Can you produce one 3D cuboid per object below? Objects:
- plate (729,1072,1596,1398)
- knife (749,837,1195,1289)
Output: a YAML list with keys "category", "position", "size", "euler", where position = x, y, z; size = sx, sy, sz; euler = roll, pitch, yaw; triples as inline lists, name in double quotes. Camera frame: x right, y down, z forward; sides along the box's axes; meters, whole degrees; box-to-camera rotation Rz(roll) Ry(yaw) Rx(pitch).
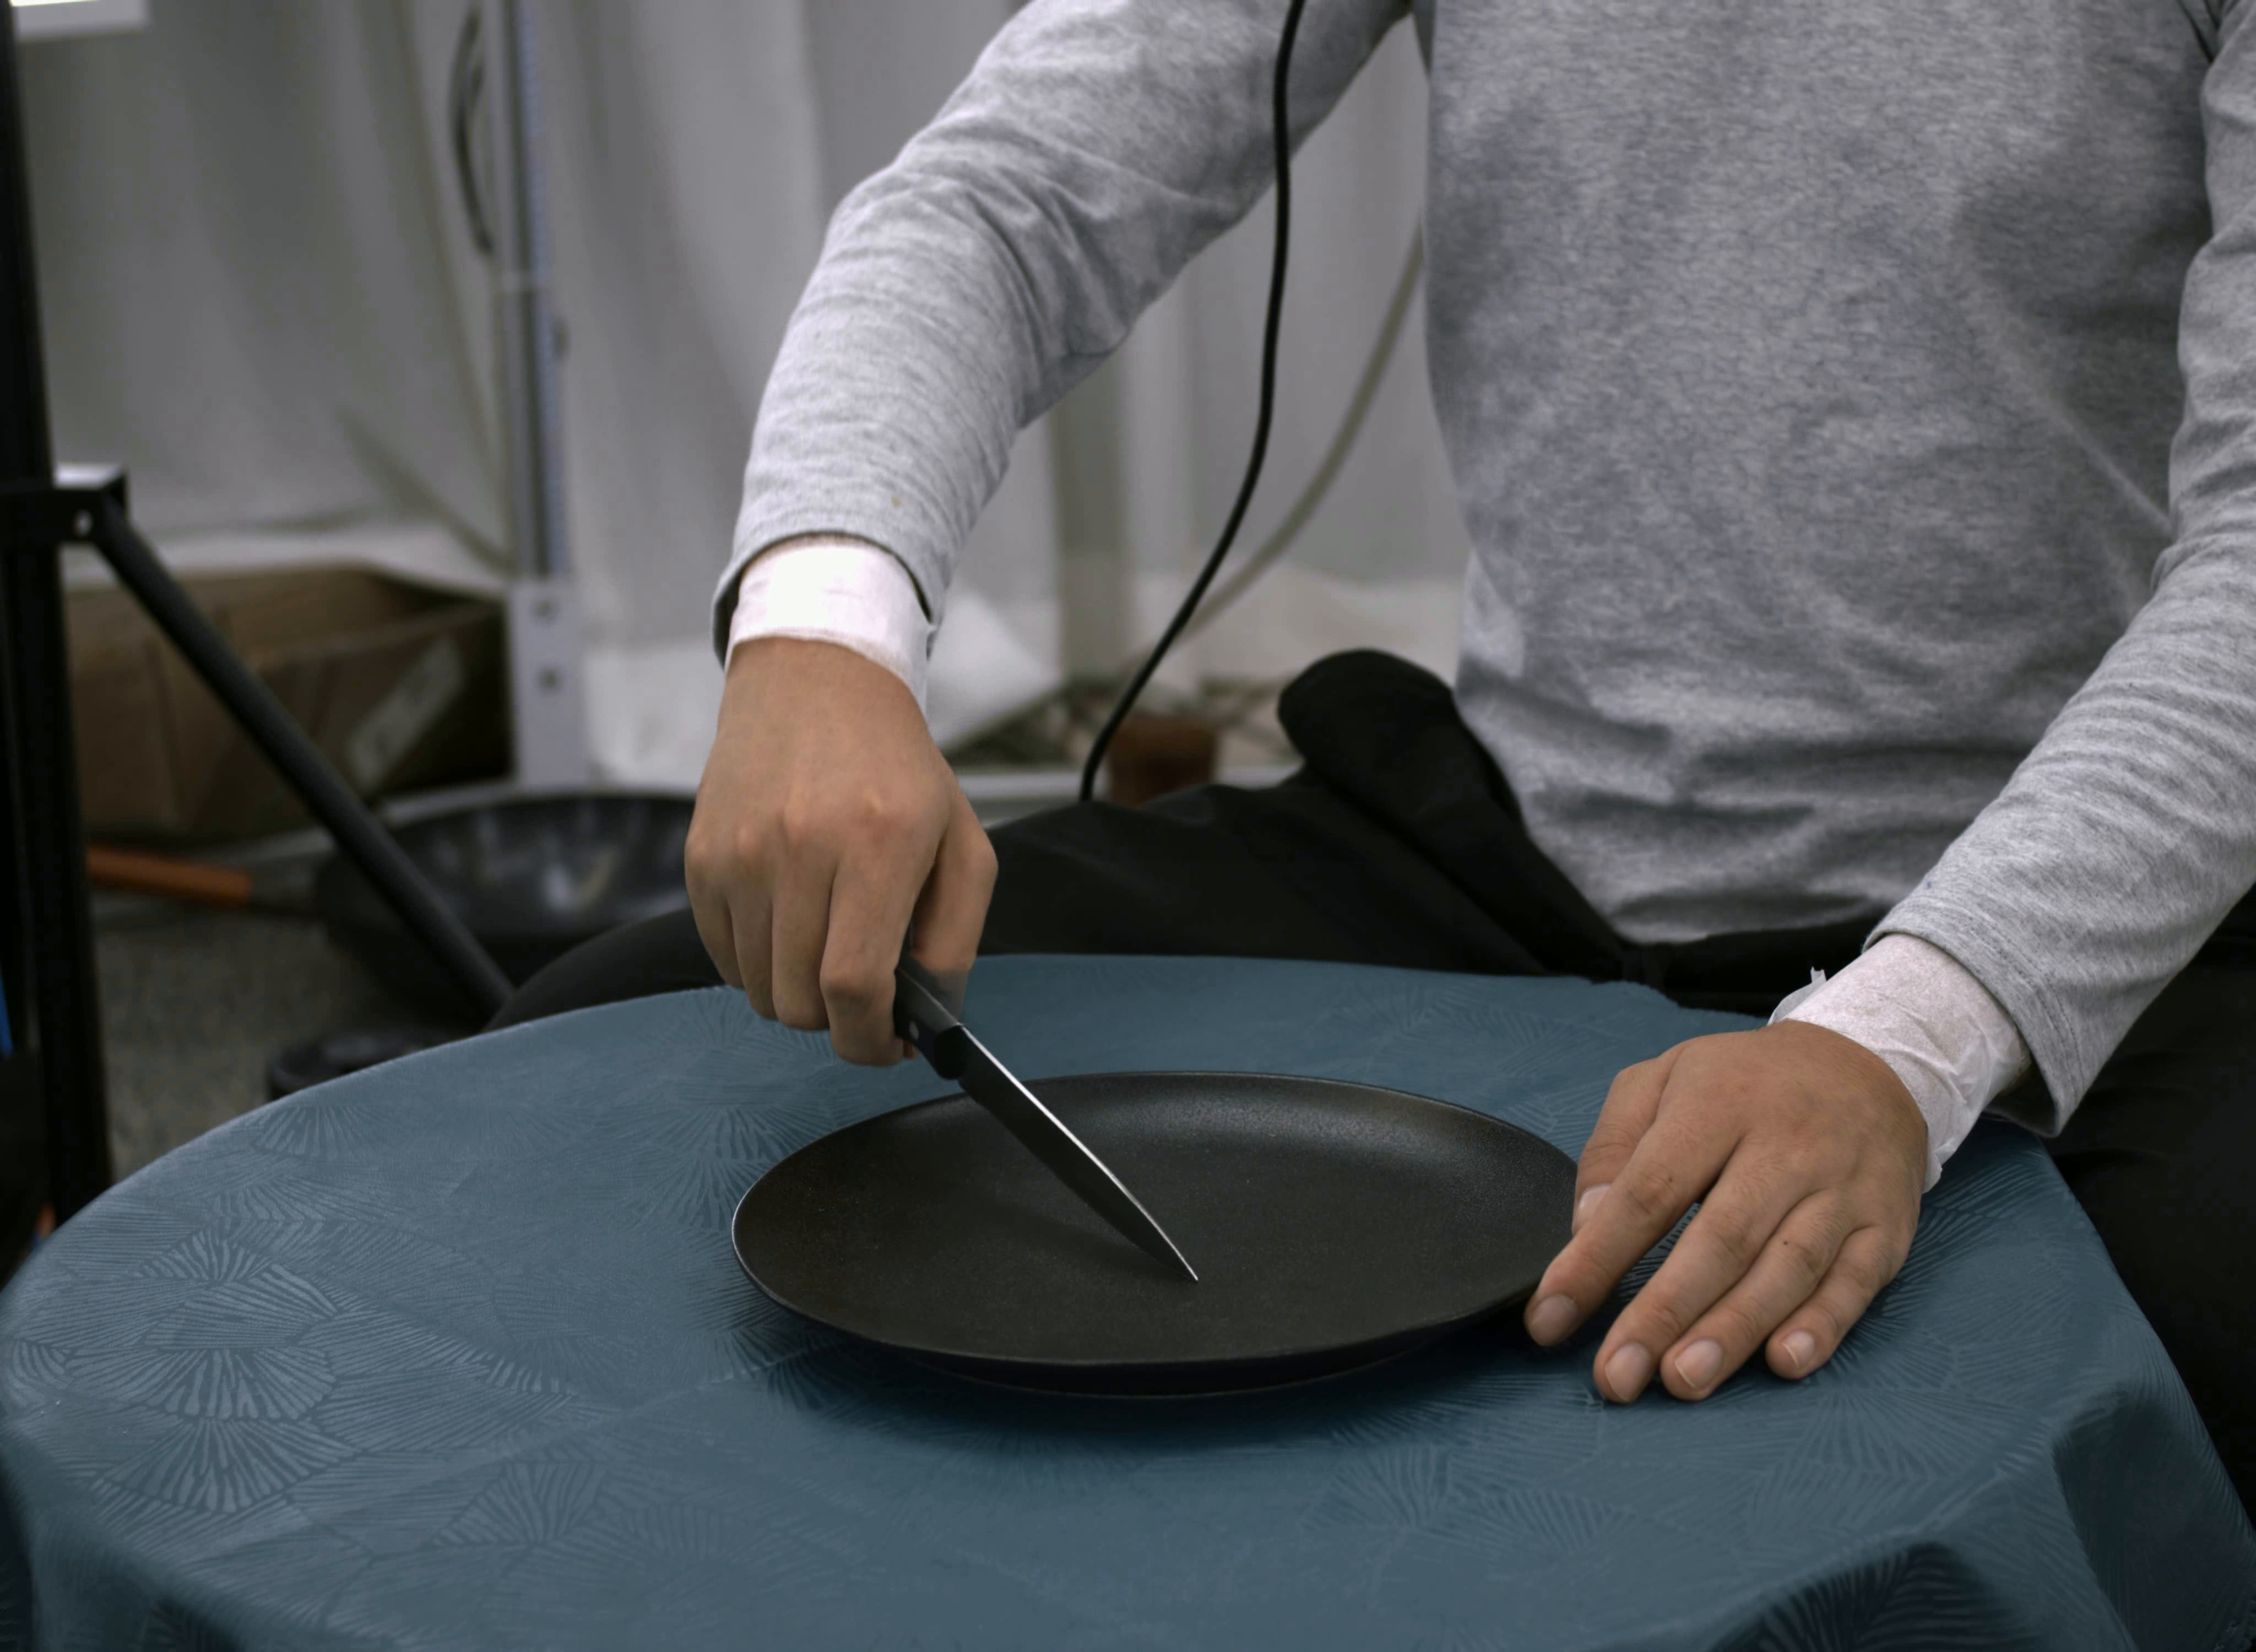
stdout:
- category: "plate"
  position: [0.010, 0.117, 1.488]
  size: [0.243, 0.023, 0.245]
  euler: [-3, 16, -1]
- category: "knife"
  position: [-0.046, 0.067, 1.545]
  size: [0.016, 0.024, 0.243]
  euler: [-19, 40, -27]
